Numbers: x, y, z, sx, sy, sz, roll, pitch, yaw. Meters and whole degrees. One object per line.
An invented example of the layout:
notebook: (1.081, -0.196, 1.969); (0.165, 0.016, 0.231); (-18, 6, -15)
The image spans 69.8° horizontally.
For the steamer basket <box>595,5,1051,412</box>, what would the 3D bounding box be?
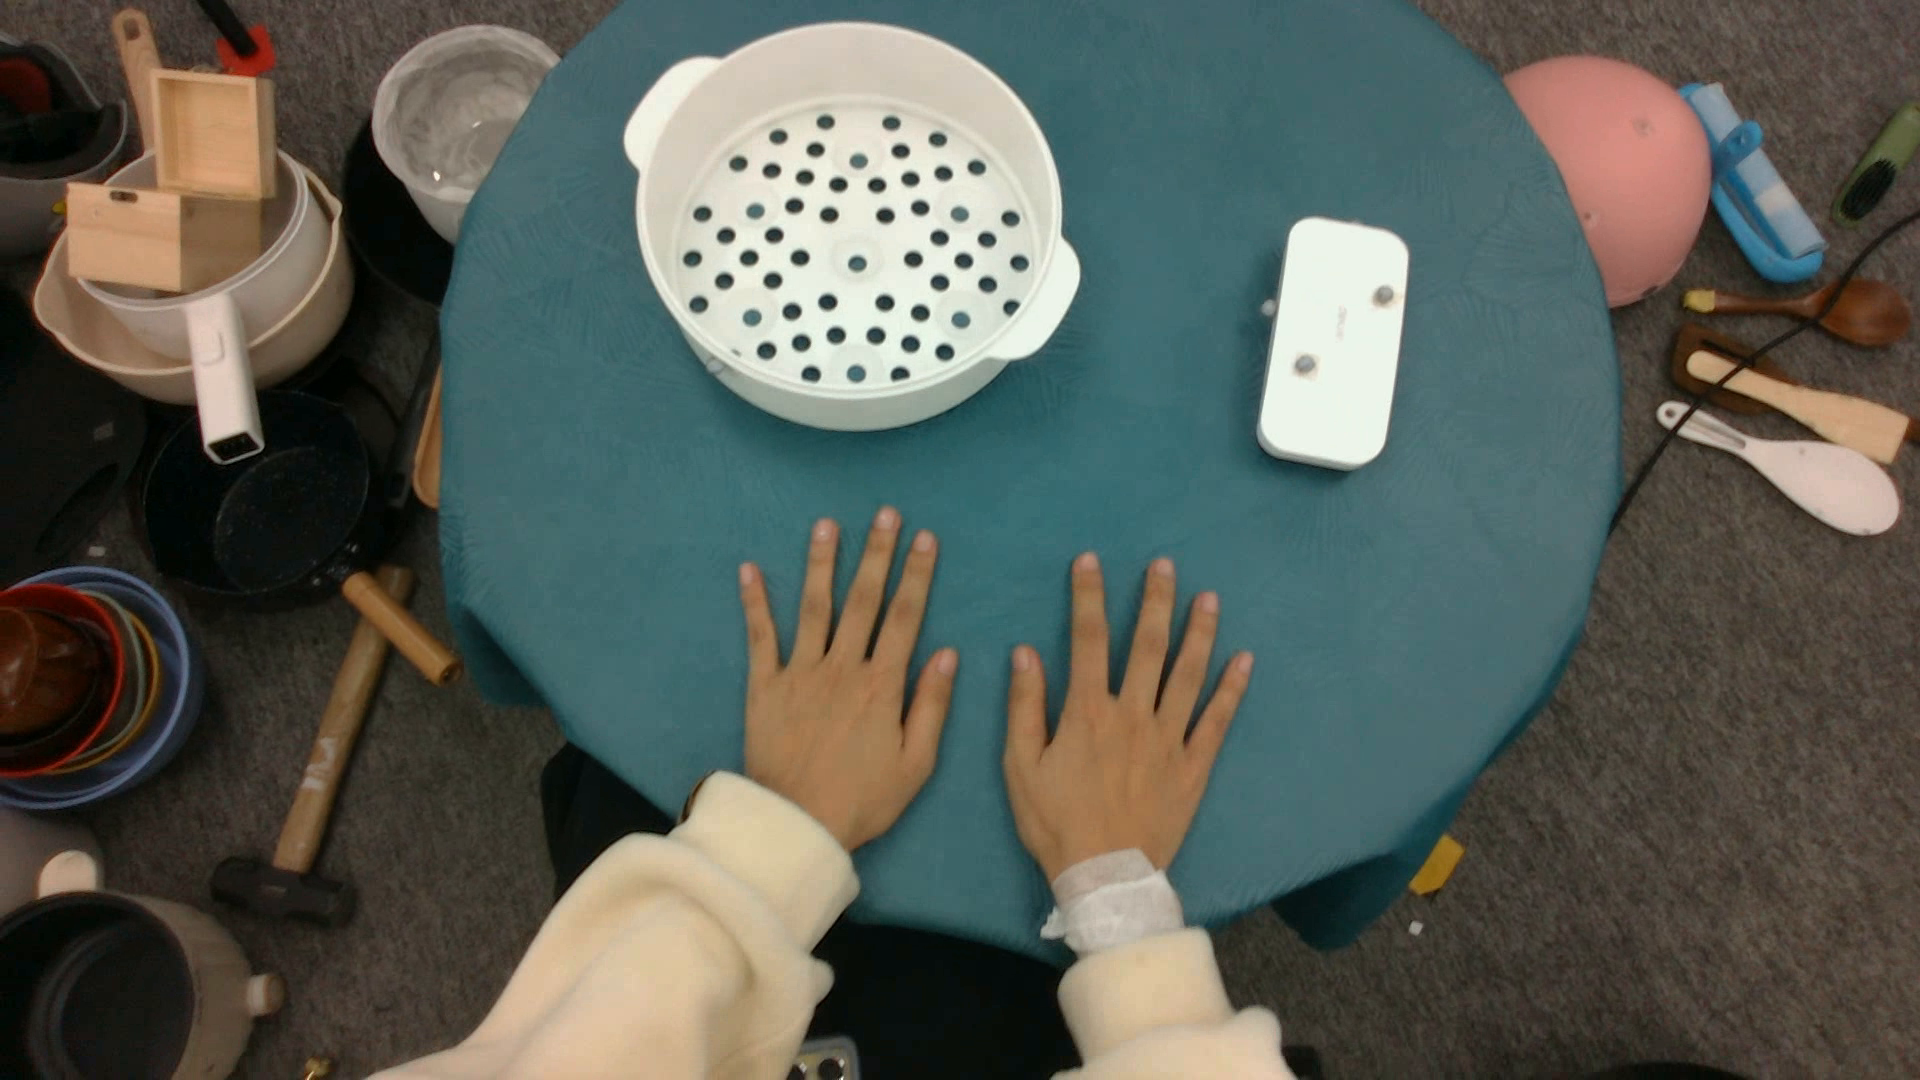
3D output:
steamer basket: (-0.067, -0.161, 0.680); (0.230, 0.069, 0.202); (28, 74, 7)

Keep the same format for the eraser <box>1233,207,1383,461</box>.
eraser: (0.174, -0.105, 0.694); (0.063, 0.034, 0.131); (13, 72, 0)
